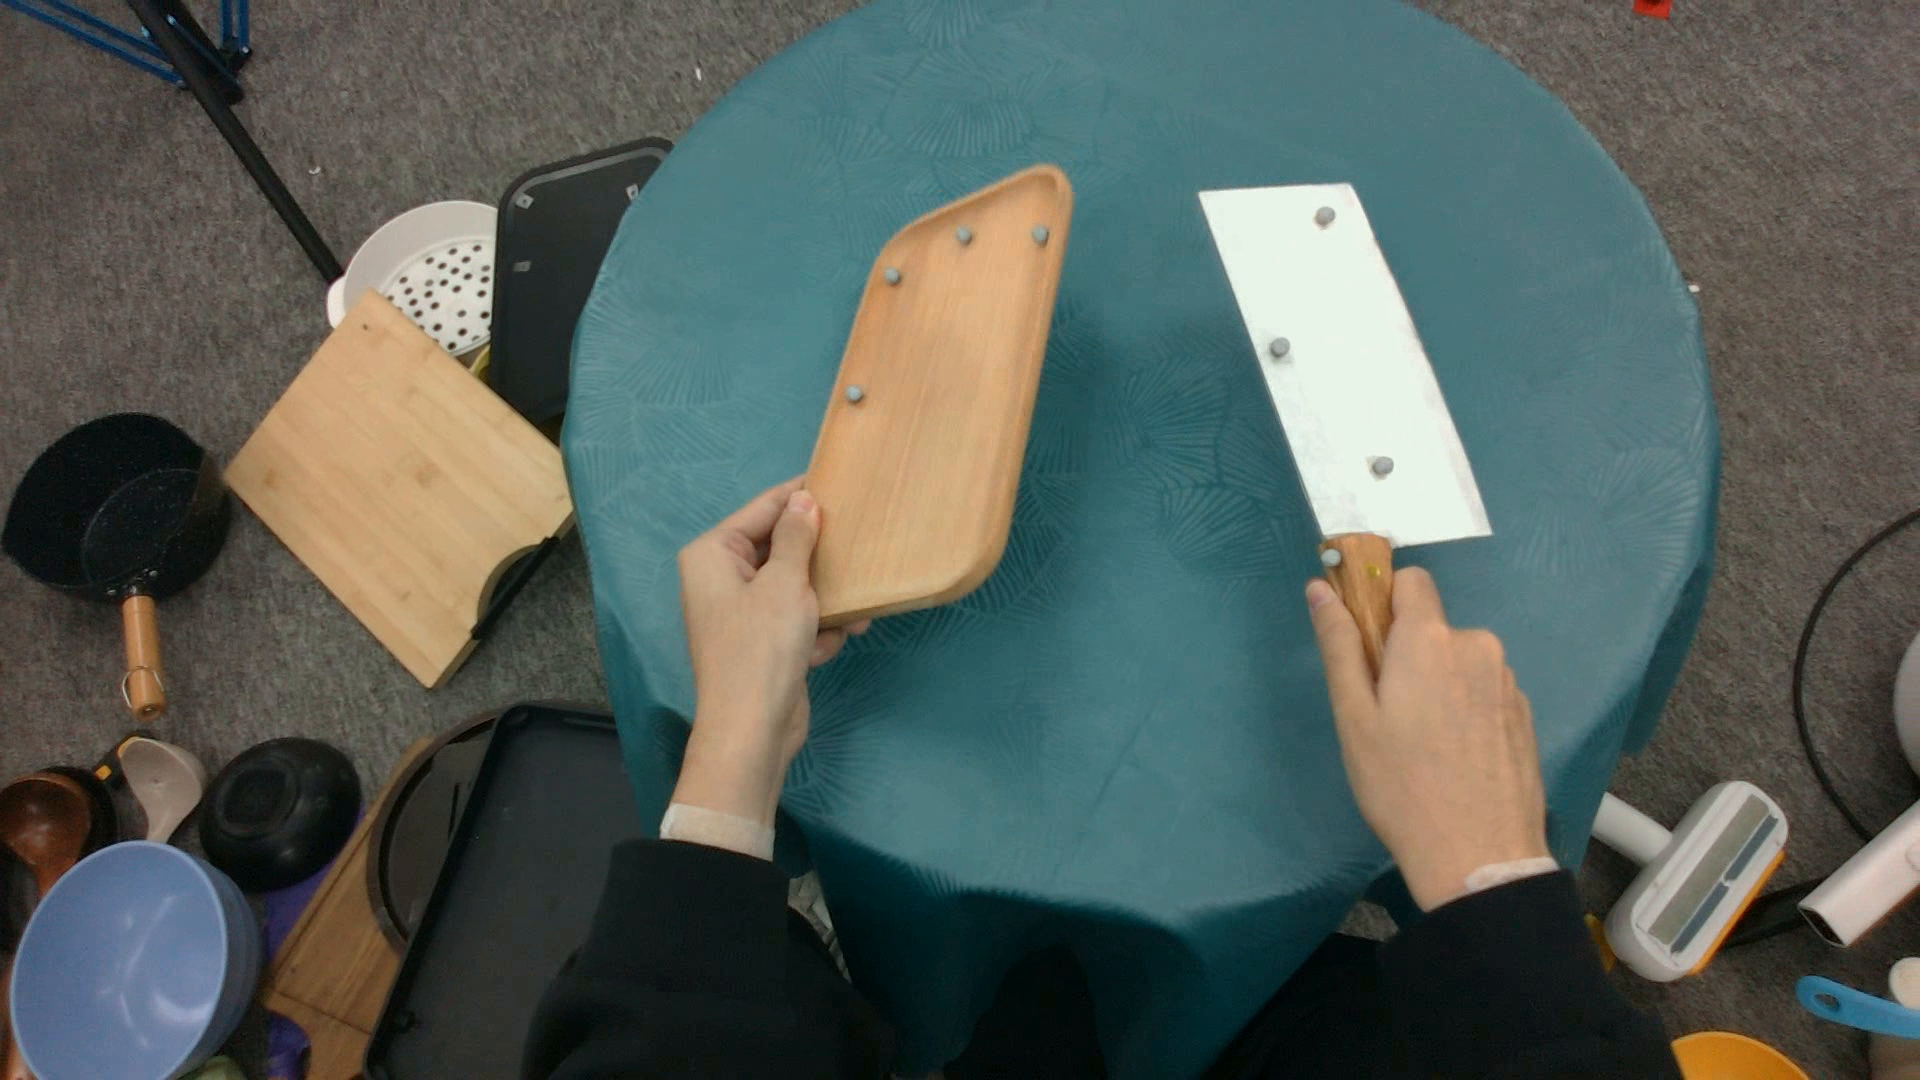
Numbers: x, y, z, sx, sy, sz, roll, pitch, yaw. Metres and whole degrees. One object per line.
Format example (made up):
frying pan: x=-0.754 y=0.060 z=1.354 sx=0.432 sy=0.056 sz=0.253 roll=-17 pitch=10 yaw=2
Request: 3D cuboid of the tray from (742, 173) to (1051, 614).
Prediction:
tray: x=-0.025 y=-0.076 z=0.660 sx=0.130 sy=0.023 sz=0.252 roll=-11 pitch=51 yaw=31

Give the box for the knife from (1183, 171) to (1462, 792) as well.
knife: x=0.181 y=-0.041 z=0.627 sx=0.093 sy=0.021 sz=0.306 roll=-6 pitch=69 yaw=-22
